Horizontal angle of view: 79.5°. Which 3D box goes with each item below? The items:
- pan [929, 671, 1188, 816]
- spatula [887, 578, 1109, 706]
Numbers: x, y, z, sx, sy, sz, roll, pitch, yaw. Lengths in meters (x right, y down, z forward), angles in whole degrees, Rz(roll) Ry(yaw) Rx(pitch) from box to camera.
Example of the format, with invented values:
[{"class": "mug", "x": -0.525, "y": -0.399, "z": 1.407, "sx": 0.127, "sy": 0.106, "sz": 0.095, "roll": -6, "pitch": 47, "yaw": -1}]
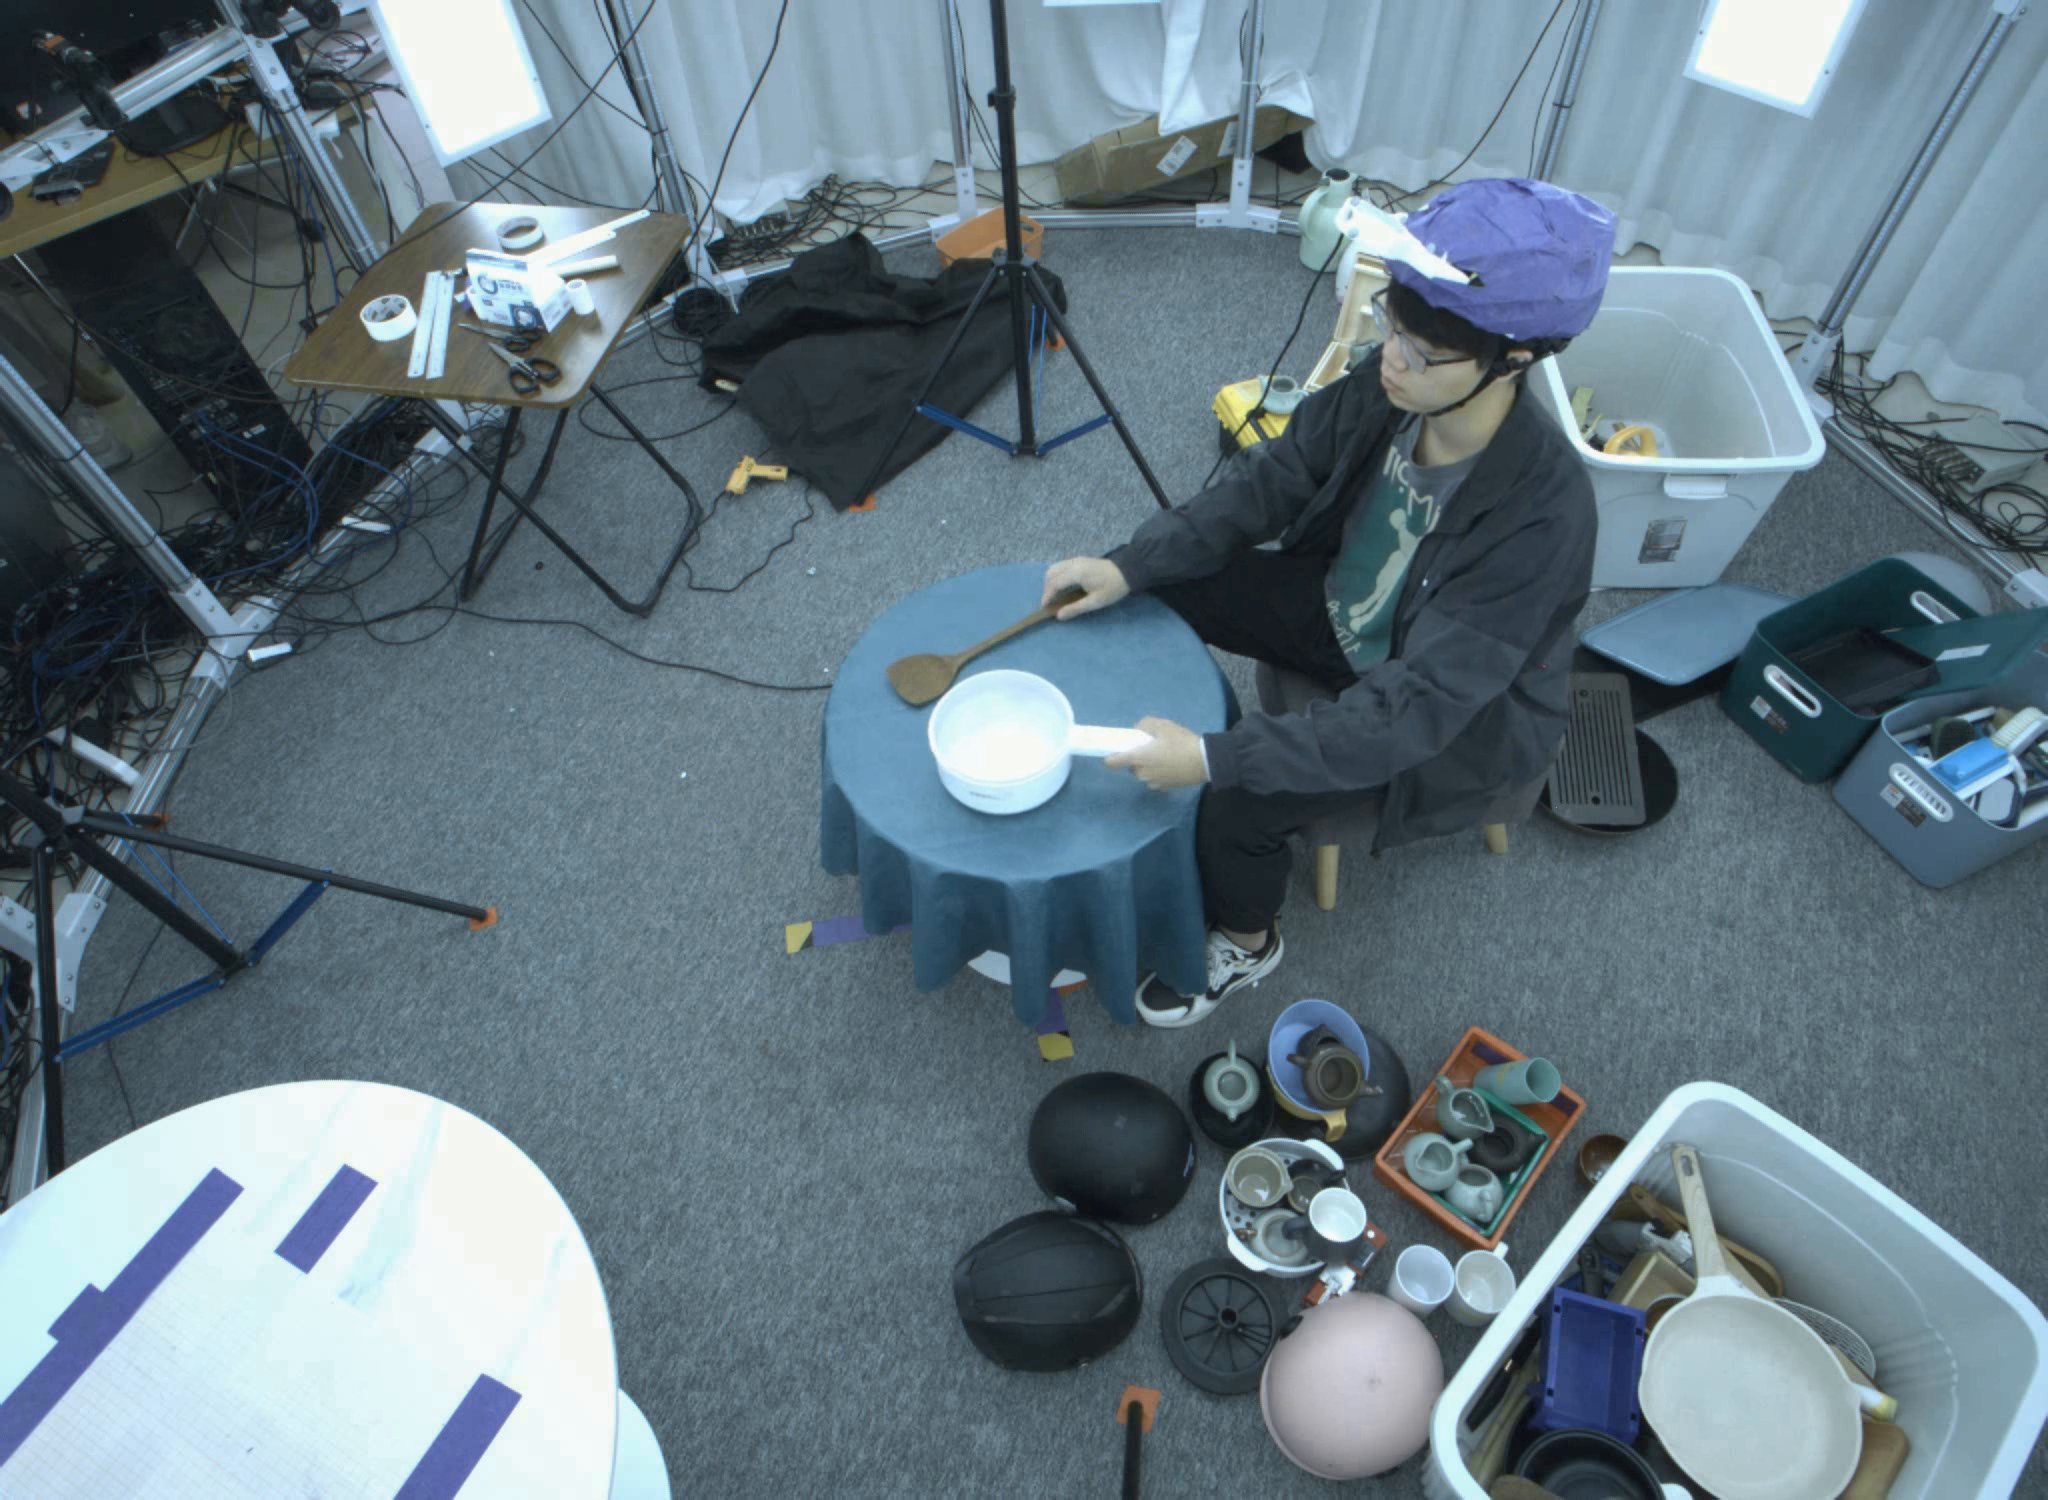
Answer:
[{"class": "pan", "x": 0.047, "y": 0.003, "z": 1.715, "sx": 0.354, "sy": 0.103, "sz": 0.200, "roll": 6, "pitch": 55, "yaw": 5}, {"class": "spatula", "x": -0.031, "y": -0.179, "z": 1.895, "sx": 0.389, "sy": 0.016, "sz": 0.094, "roll": -29, "pitch": 59, "yaw": -16}]
